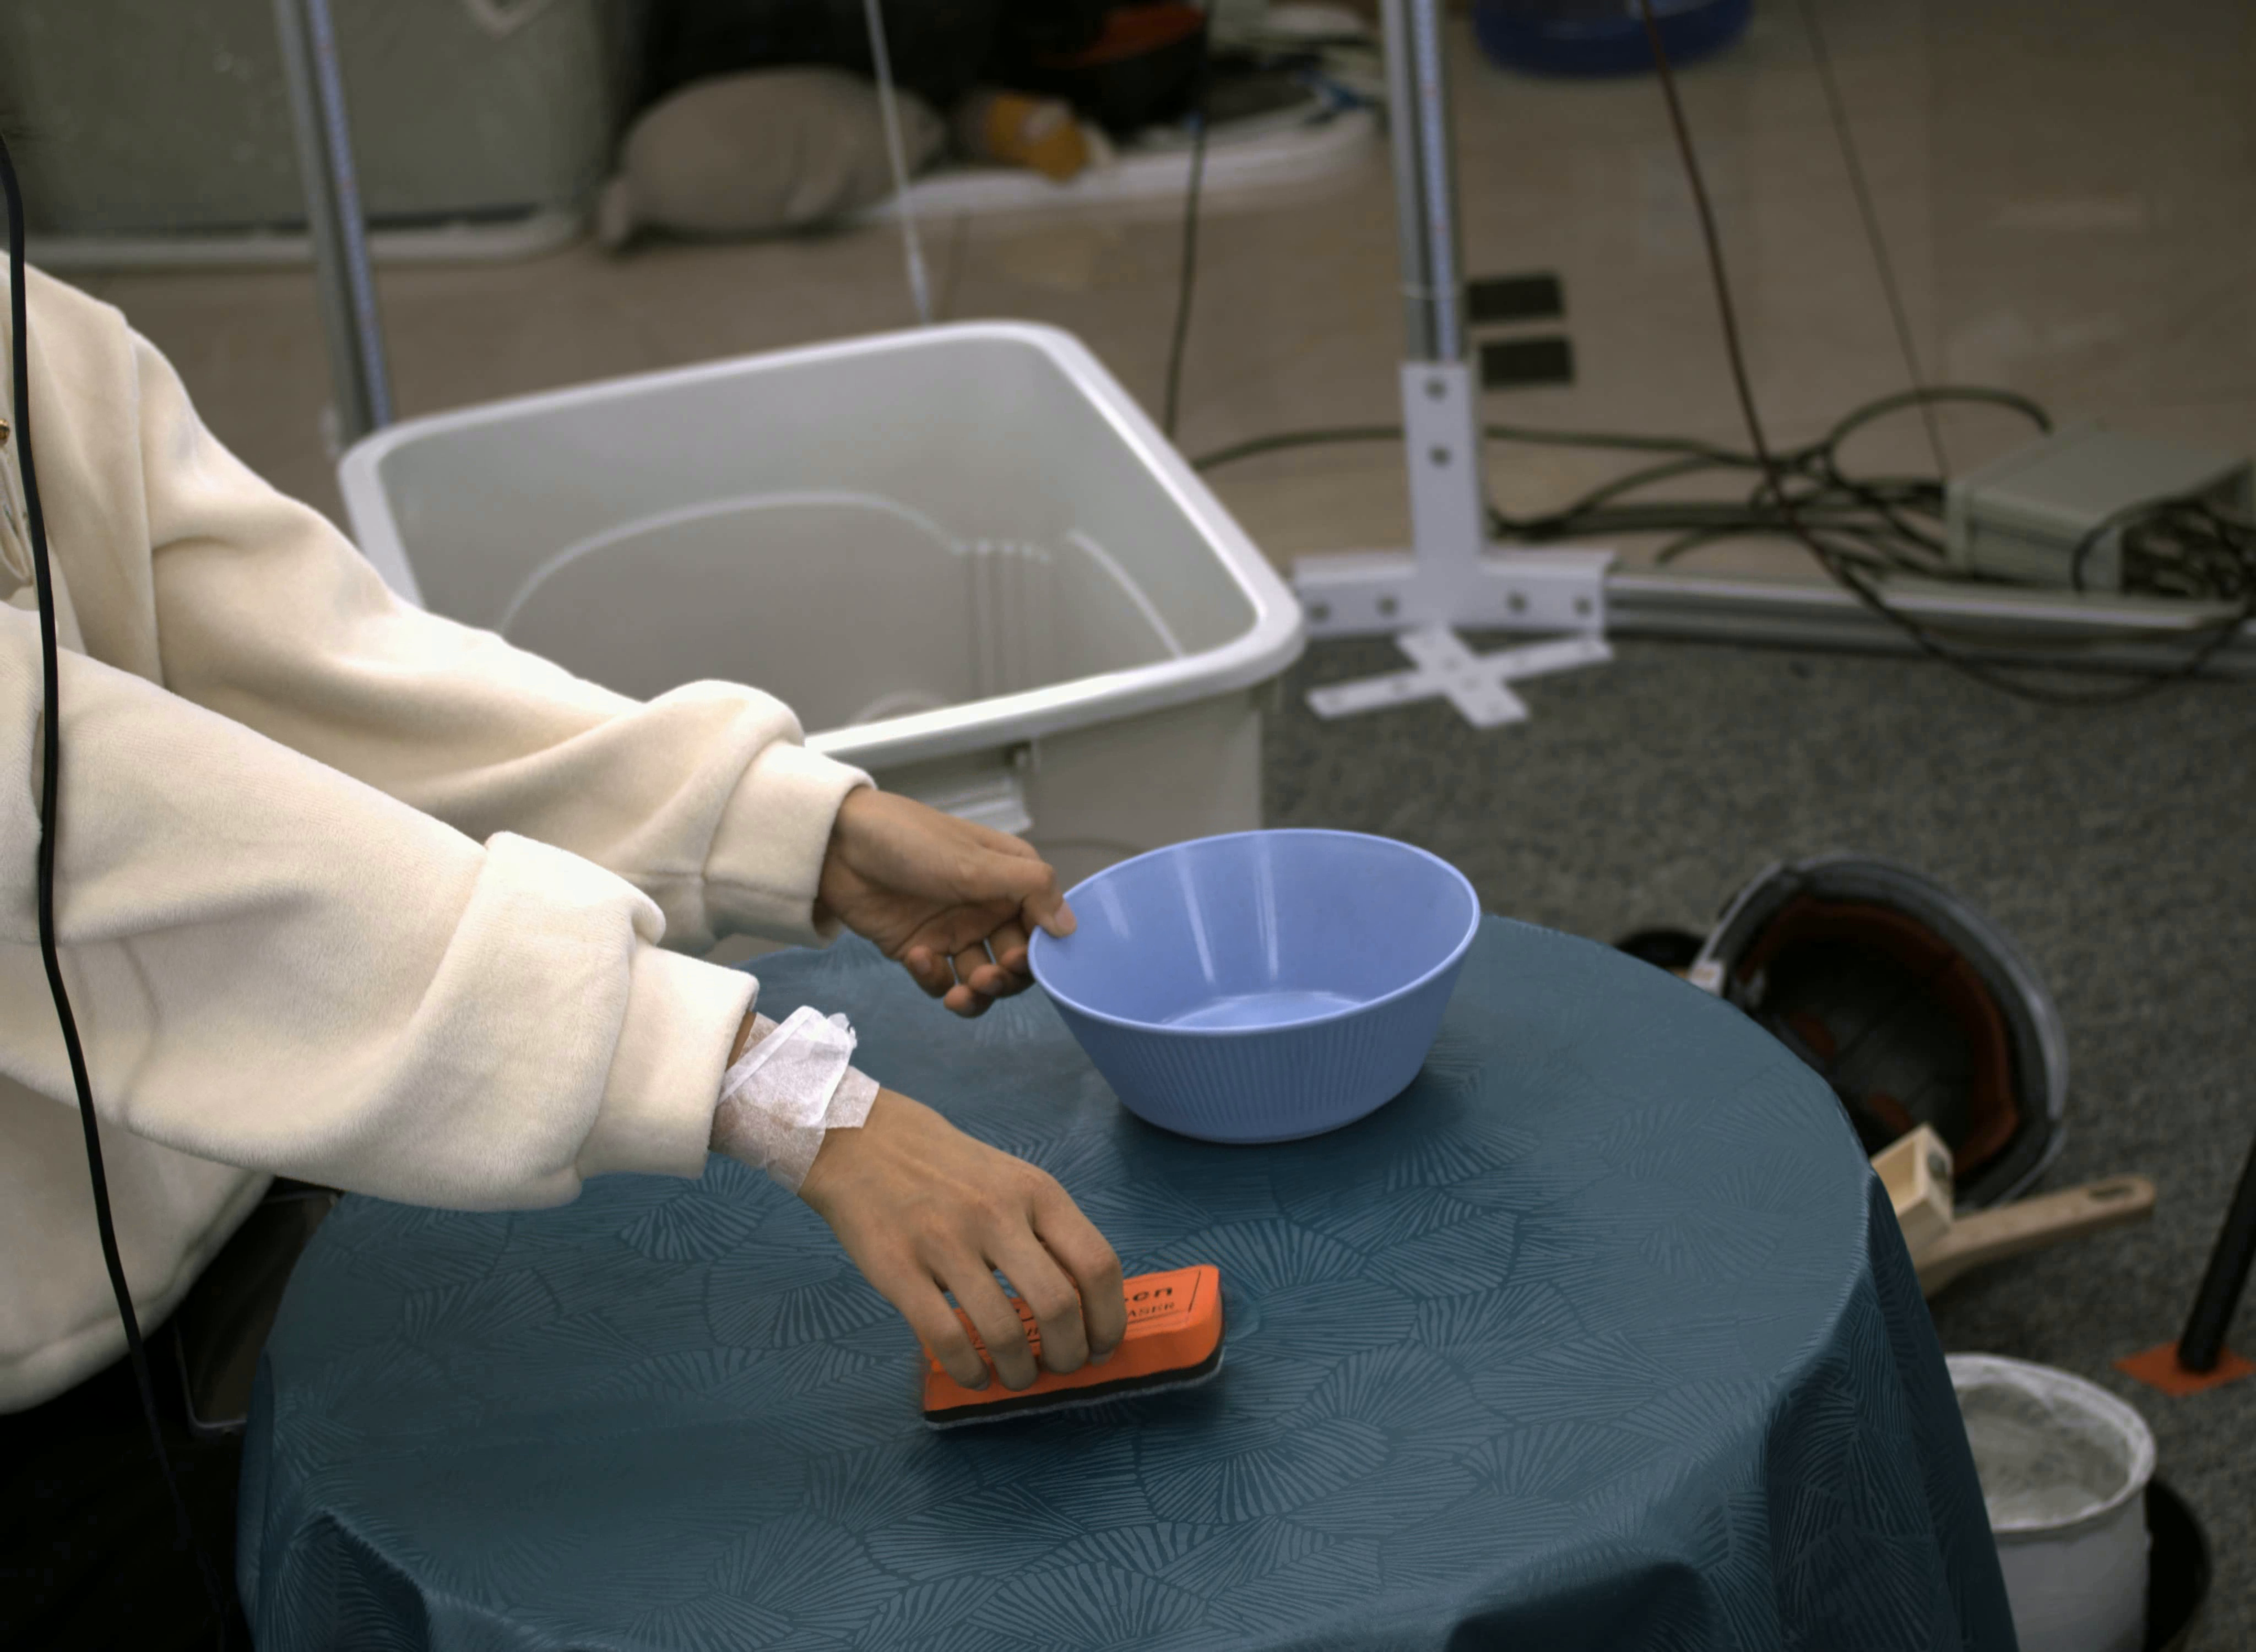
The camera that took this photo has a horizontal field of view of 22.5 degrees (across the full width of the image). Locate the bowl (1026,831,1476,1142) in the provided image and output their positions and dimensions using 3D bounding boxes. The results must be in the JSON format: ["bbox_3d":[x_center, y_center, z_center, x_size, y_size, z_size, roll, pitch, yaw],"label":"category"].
[{"bbox_3d":[0.050,0.068,2.201,0.176,0.071,0.173,-6,26,3],"label":"bowl"}]

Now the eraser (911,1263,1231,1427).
[{"bbox_3d":[-0.020,0.183,2.006,0.108,0.023,0.058,-11,19,13],"label":"eraser"}]
